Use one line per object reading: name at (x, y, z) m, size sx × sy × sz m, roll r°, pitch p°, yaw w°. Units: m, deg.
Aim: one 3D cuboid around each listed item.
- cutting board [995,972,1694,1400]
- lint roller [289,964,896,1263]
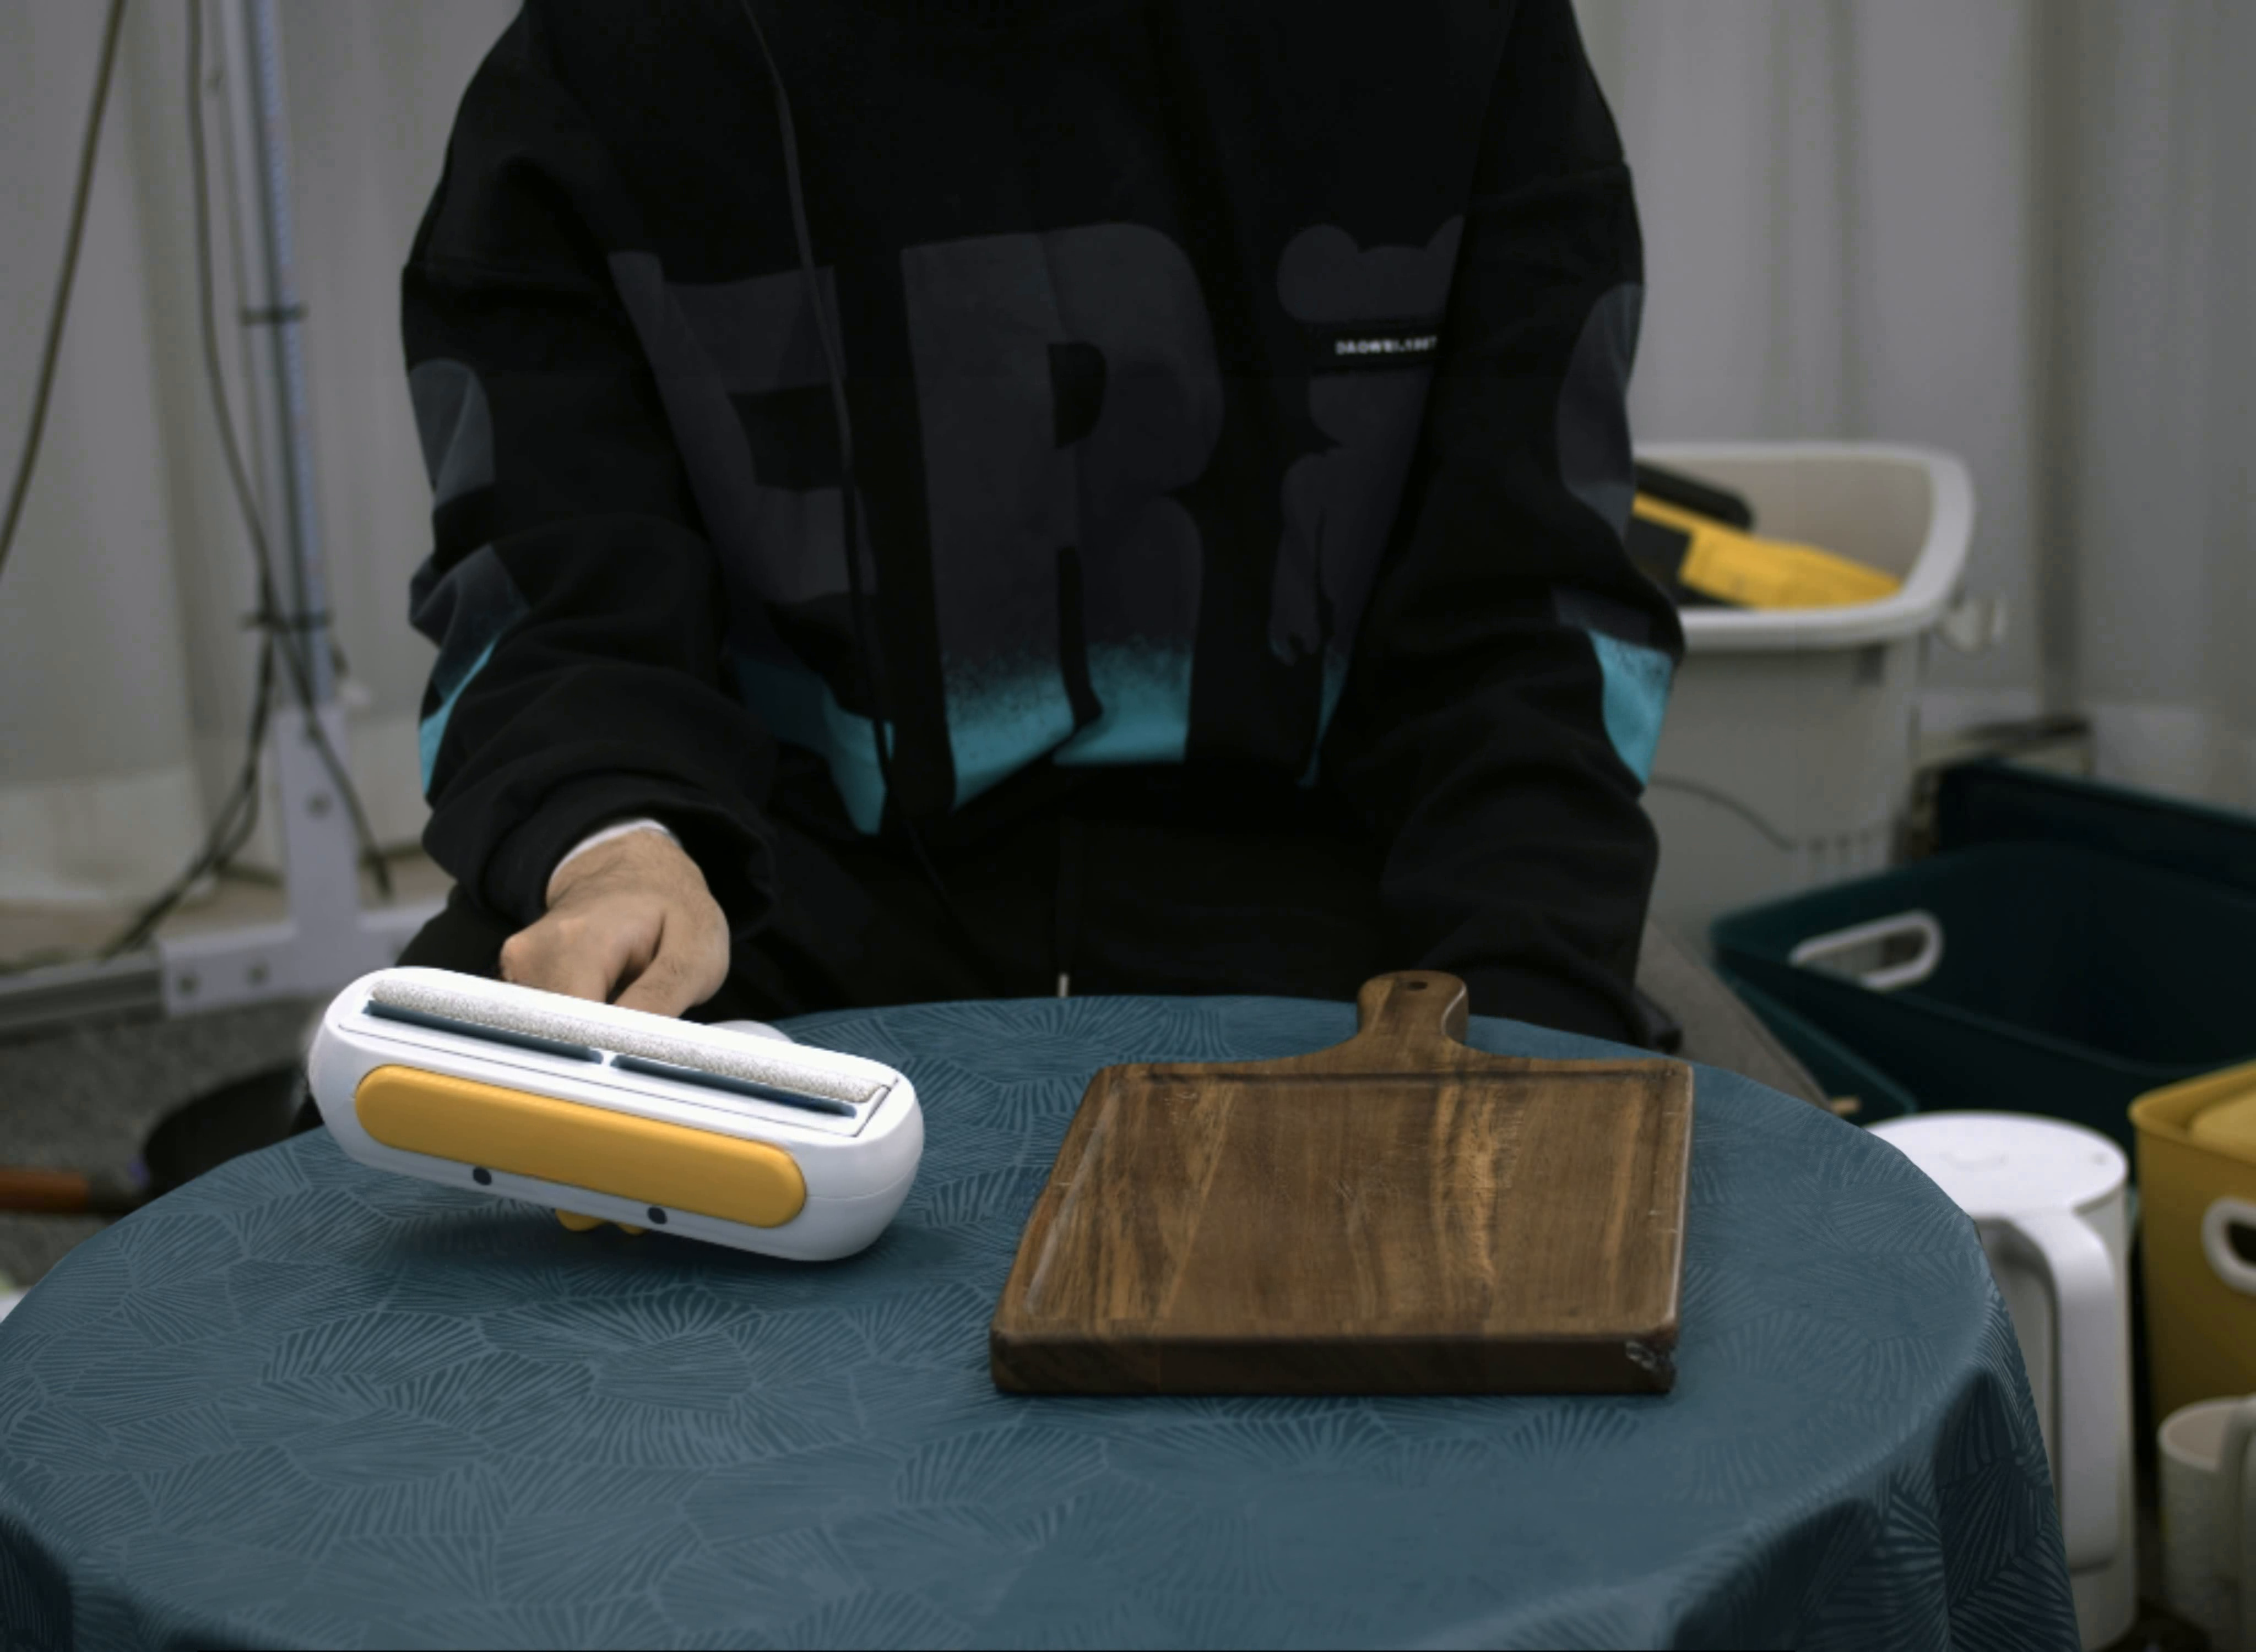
cutting board at (0.076, 0.105, 1.693) m, size 0.200 × 0.023 × 0.354 m, roll -1°, pitch 15°, yaw 7°
lint roller at (-0.147, 0.080, 1.742) m, size 0.193 × 0.074 × 0.193 m, roll 8°, pitch 16°, yaw 18°
